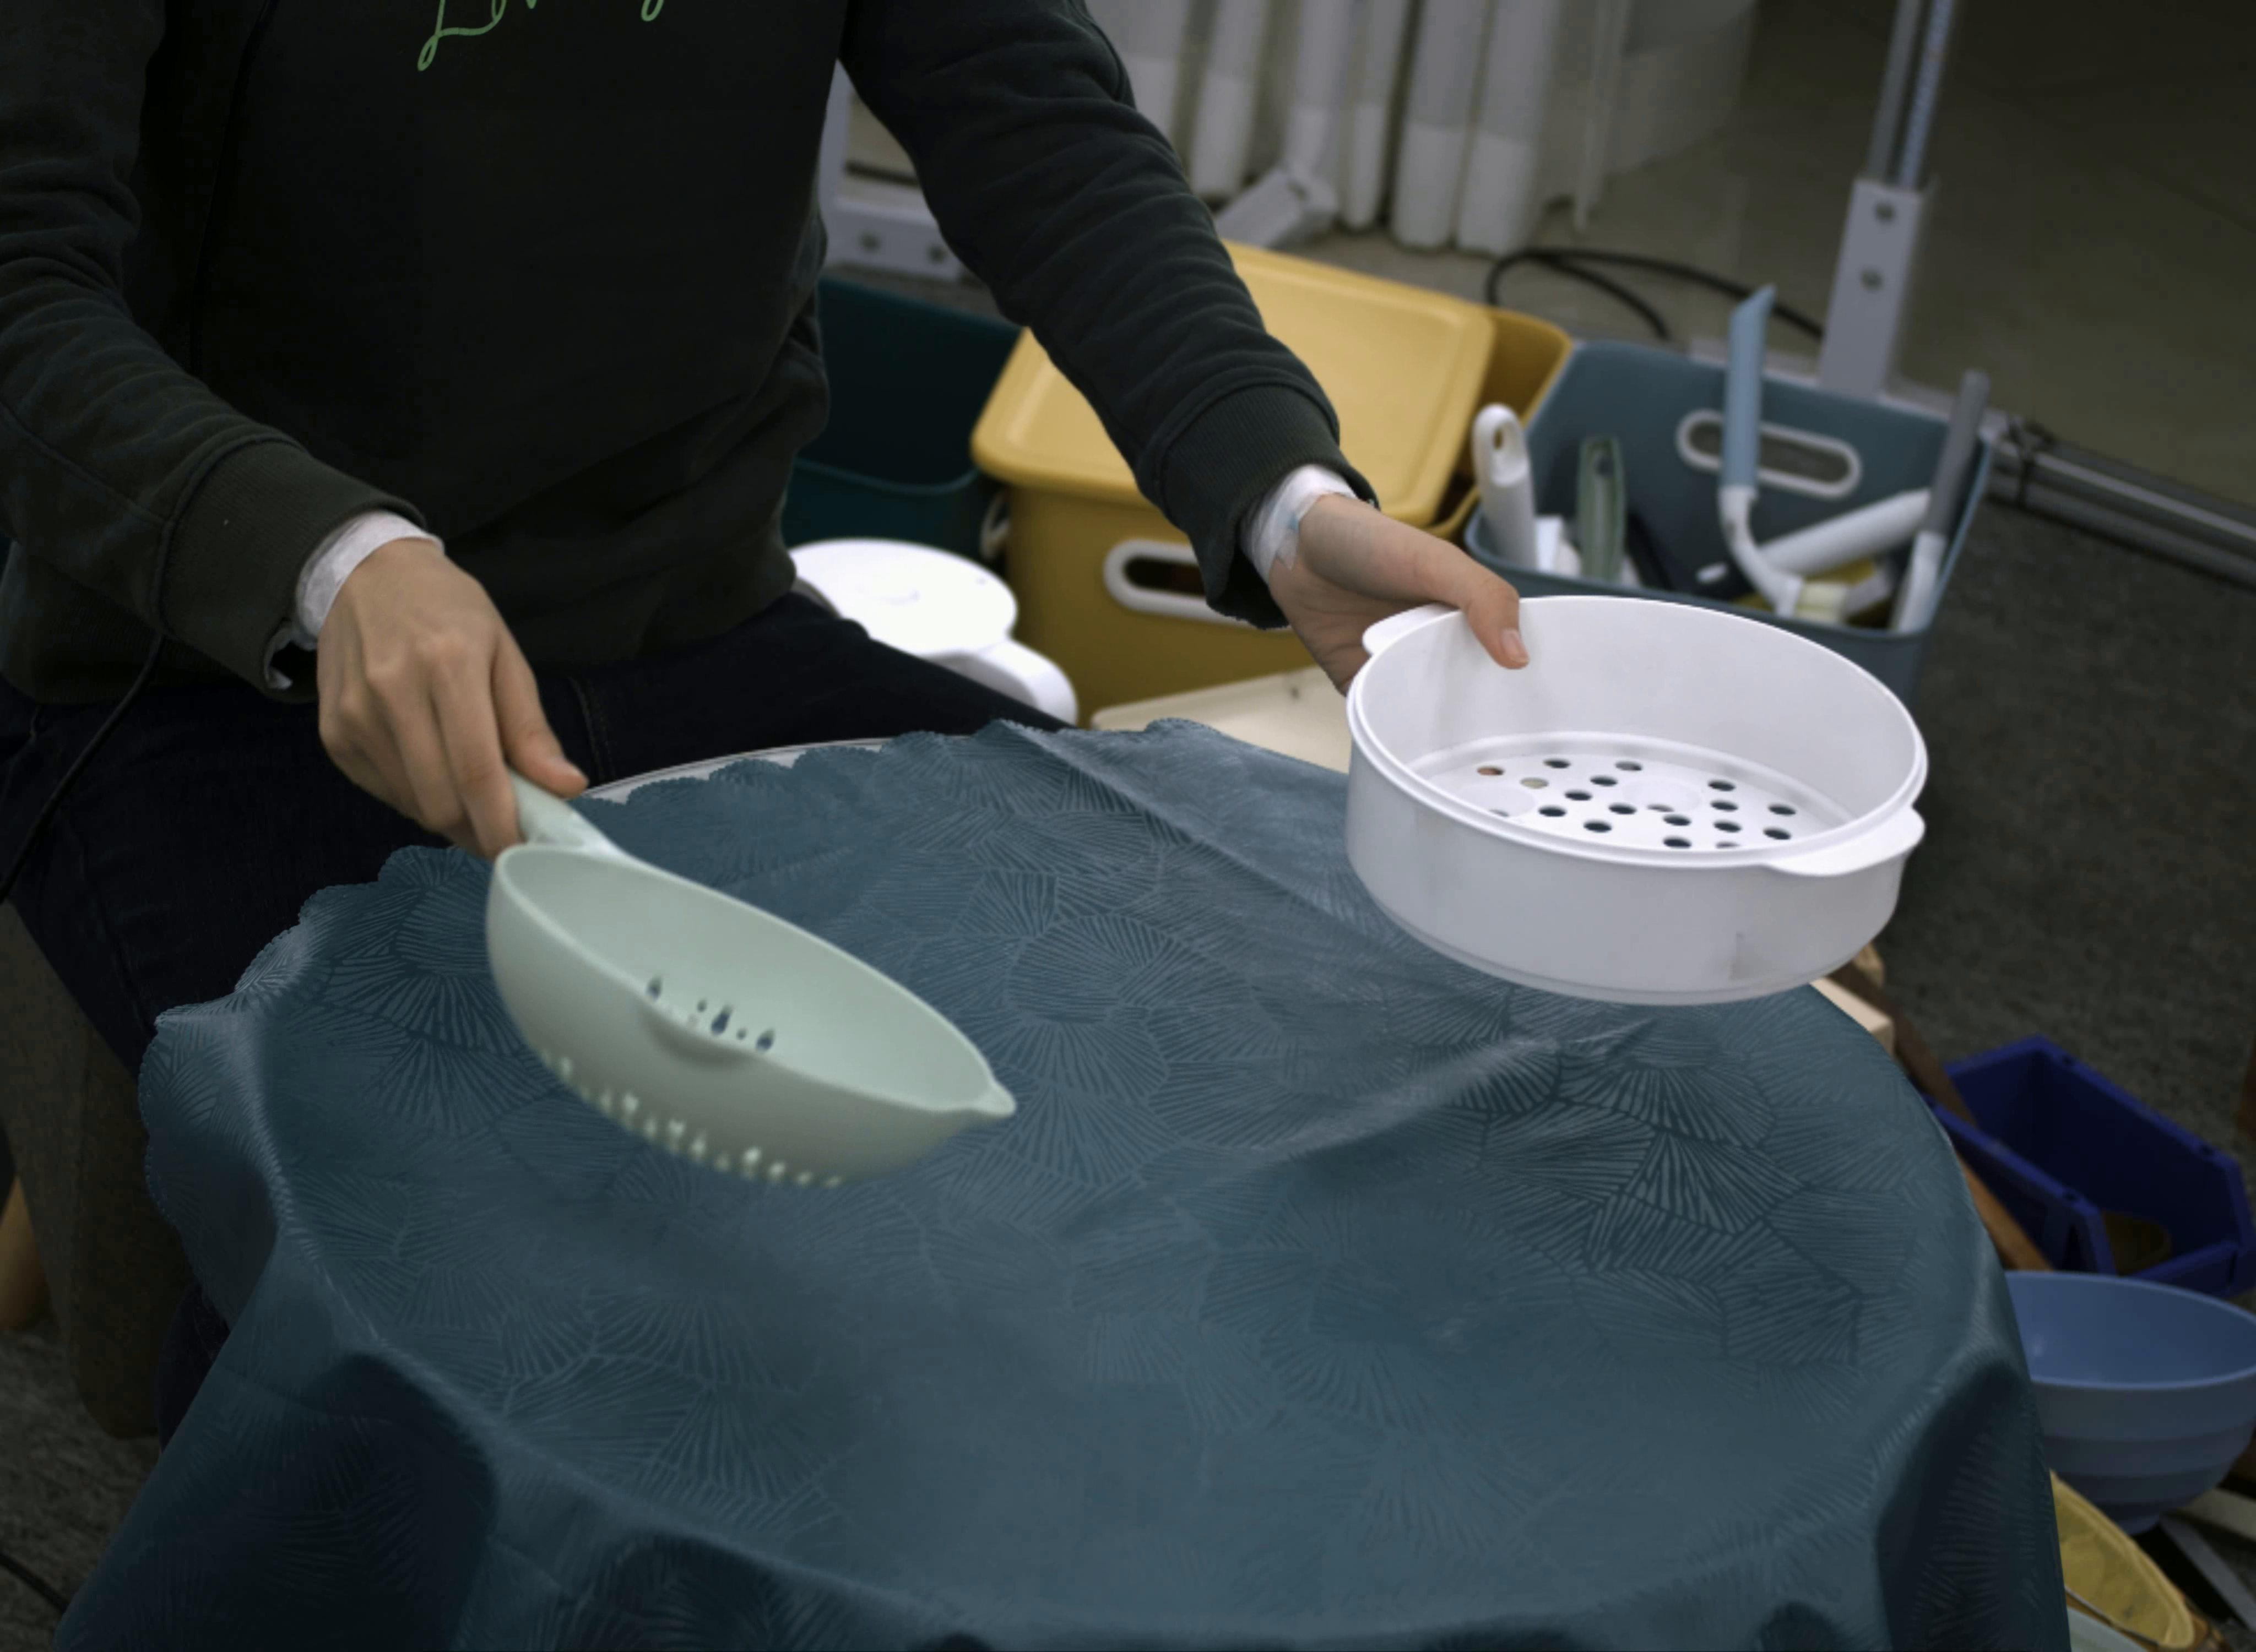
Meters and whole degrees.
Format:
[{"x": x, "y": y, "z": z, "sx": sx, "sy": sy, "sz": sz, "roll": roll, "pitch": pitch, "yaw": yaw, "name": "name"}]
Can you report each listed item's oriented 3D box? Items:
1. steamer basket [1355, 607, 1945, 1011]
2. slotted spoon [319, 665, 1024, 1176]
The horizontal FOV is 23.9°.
[{"x": 0.176, "y": -0.006, "z": 1.837, "sx": 0.201, "sy": 0.069, "sz": 0.232, "roll": -18, "pitch": 34, "yaw": -38, "name": "steamer basket"}, {"x": -0.174, "y": 0.015, "z": 1.706, "sx": 0.168, "sy": 0.075, "sz": 0.362, "roll": 19, "pitch": 18, "yaw": -40, "name": "slotted spoon"}]
